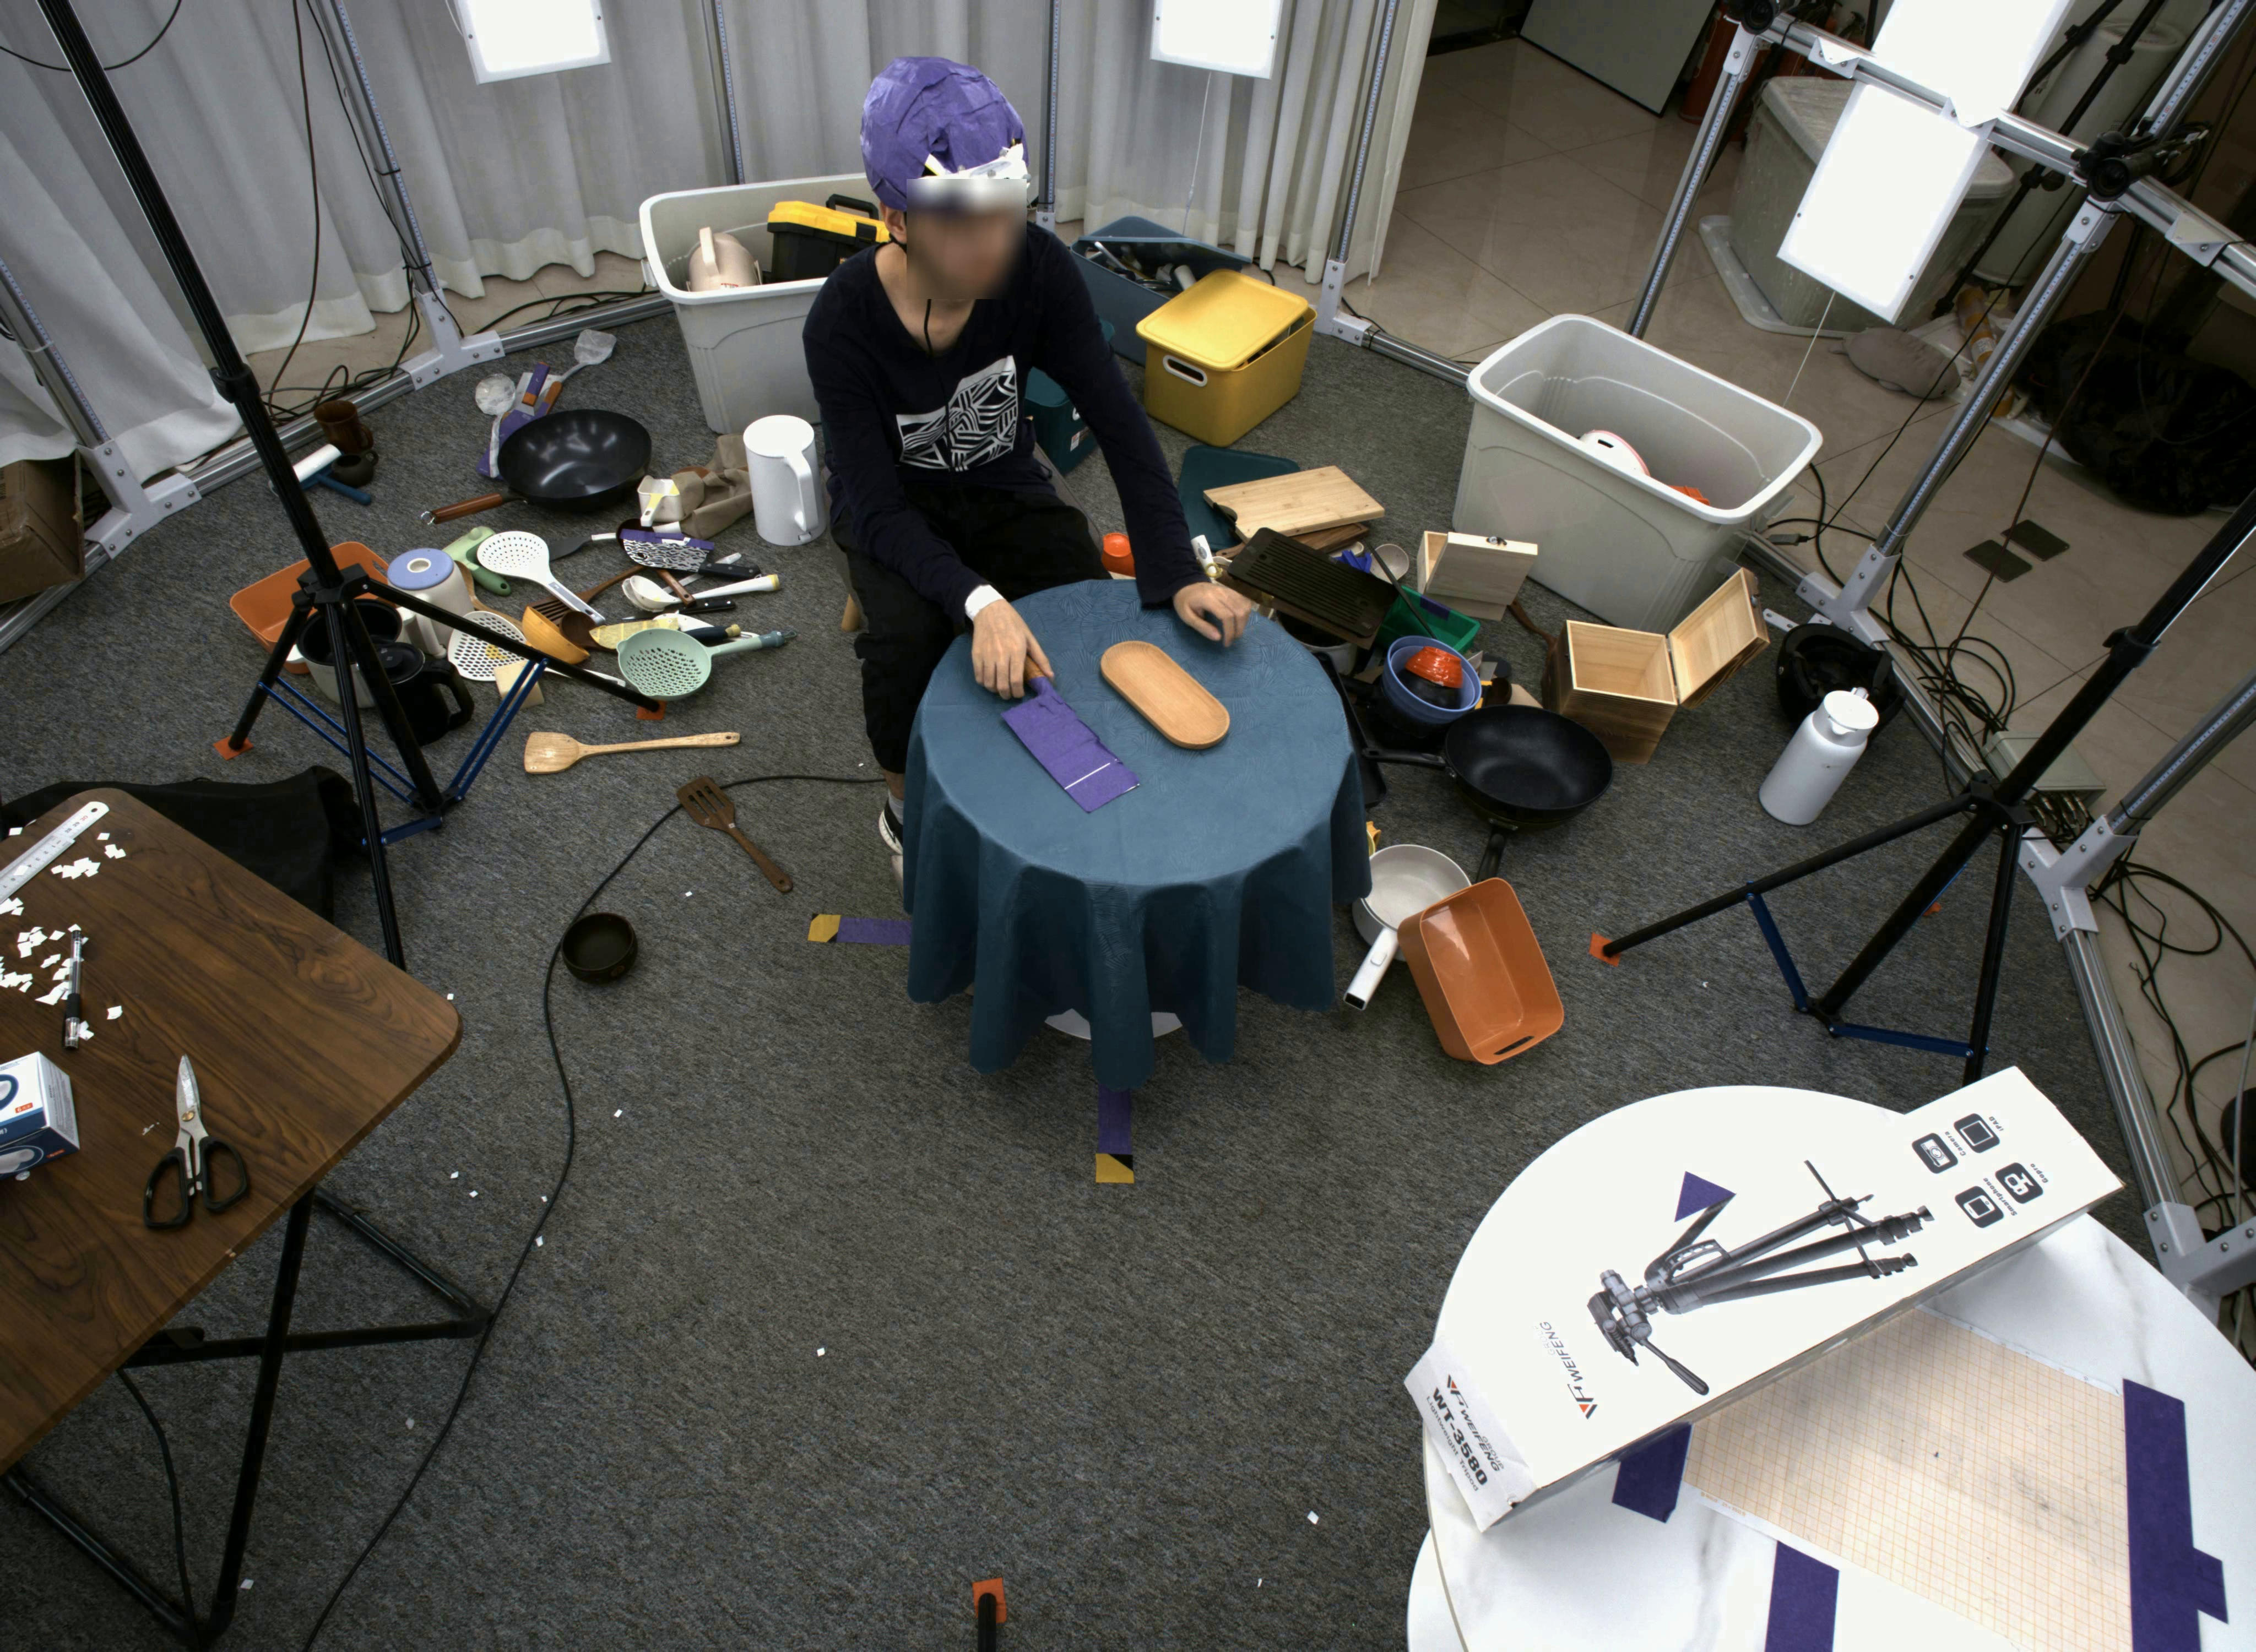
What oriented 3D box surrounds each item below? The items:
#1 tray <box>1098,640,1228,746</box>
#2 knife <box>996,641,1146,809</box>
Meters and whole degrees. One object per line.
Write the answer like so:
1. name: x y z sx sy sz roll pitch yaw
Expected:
1. tray: 0.048 -0.191 1.826 0.102 0.020 0.235 -29 55 -27
2. knife: -0.108 -0.143 1.767 0.104 0.031 0.321 -28 57 -25
